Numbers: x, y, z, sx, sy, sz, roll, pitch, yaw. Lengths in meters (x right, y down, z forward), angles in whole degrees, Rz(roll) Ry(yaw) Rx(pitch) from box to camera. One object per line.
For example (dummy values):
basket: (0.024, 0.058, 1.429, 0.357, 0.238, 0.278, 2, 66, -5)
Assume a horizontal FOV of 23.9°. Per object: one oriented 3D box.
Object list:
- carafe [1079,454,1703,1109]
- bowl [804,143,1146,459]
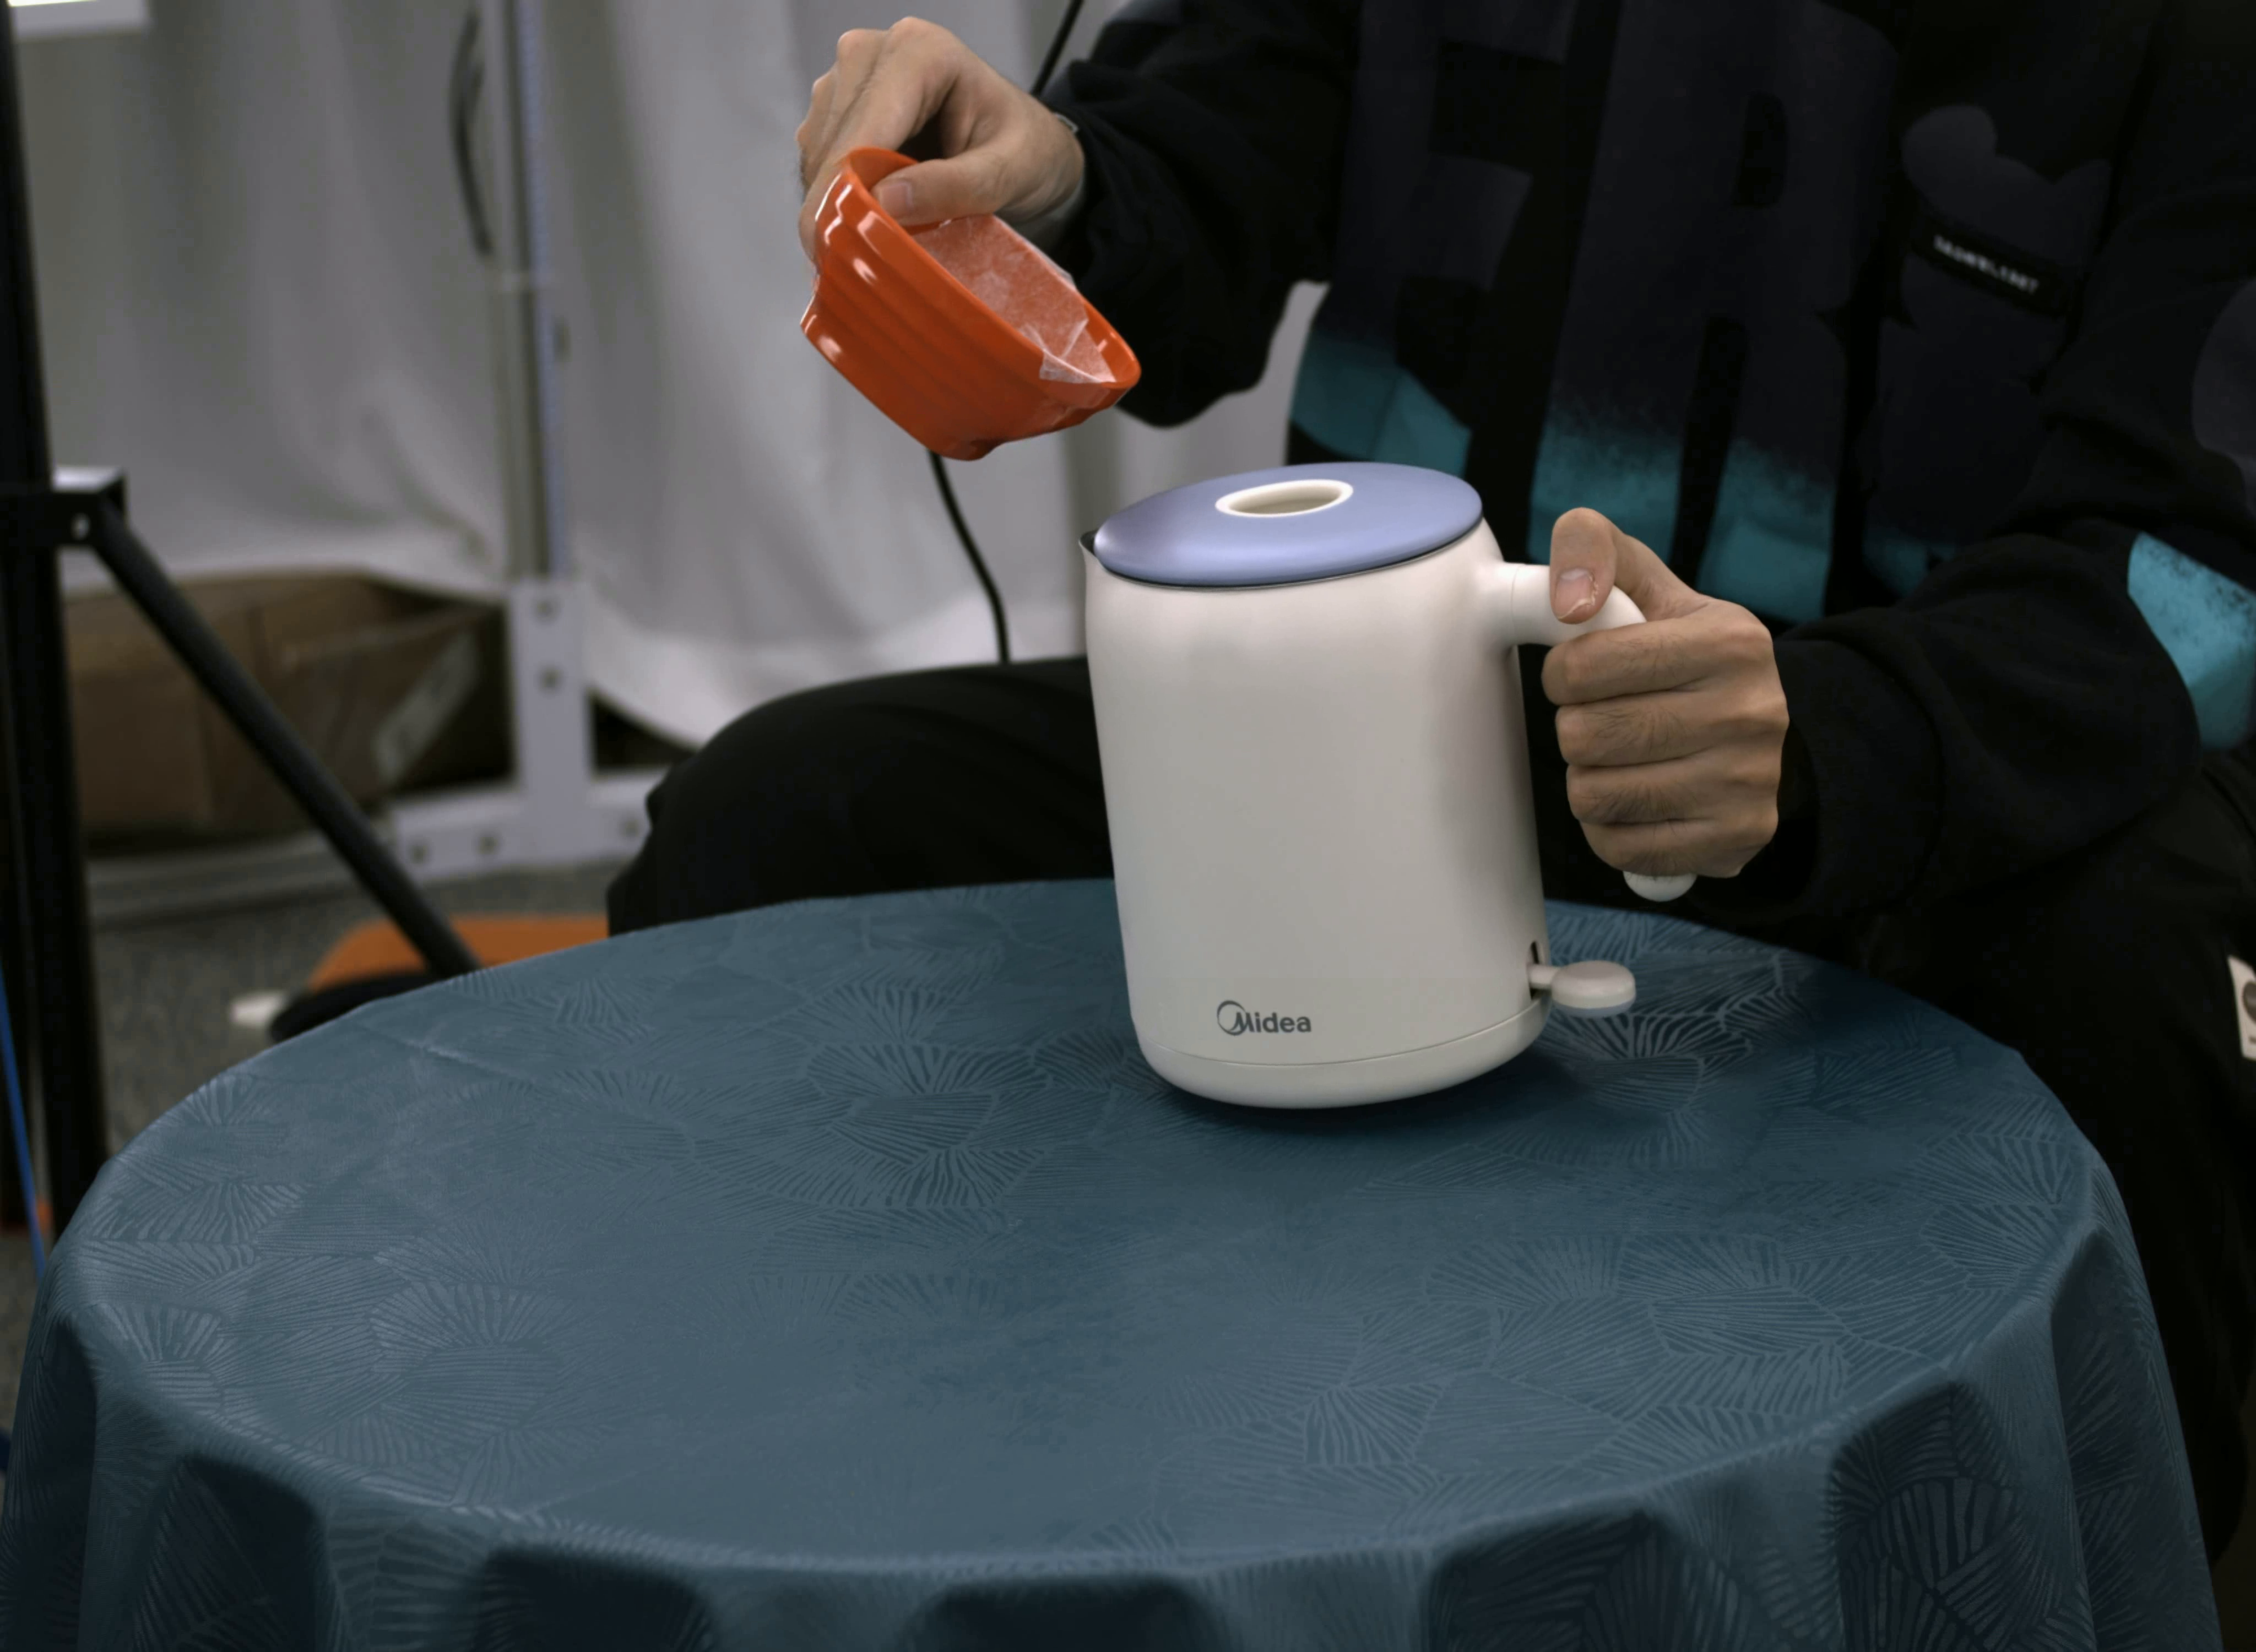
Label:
carafe: (0.081, -0.013, 1.618, 0.193, 0.182, 0.131, 3, 20, 22)
bowl: (-0.054, -0.152, 1.614, 0.117, 0.051, 0.120, 34, 17, -14)
